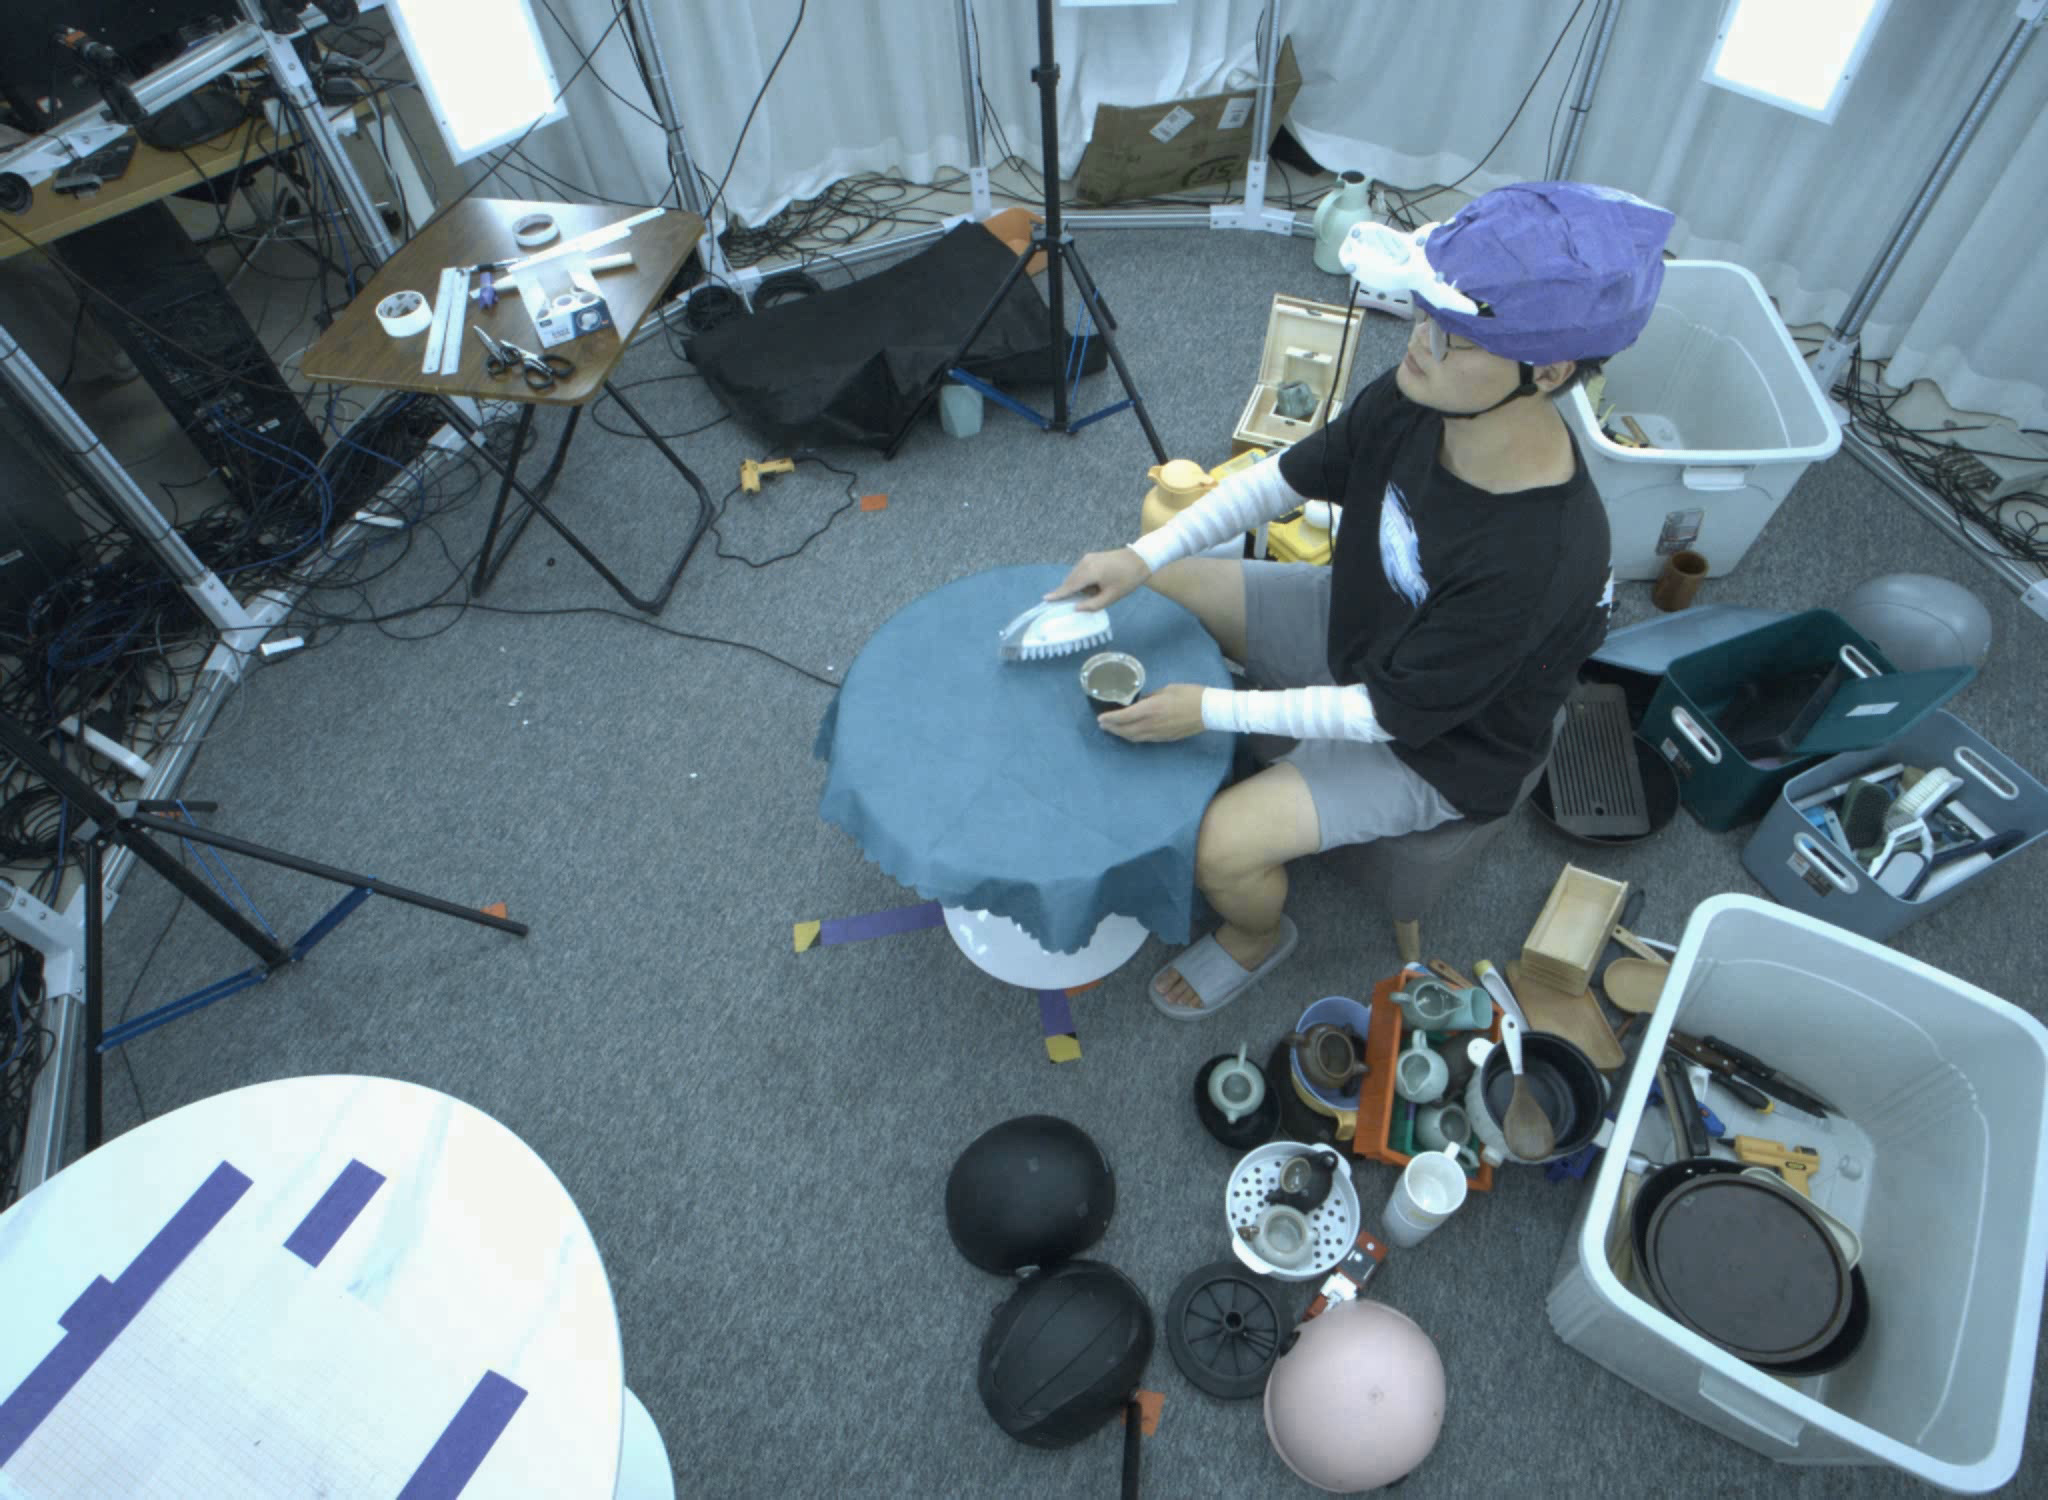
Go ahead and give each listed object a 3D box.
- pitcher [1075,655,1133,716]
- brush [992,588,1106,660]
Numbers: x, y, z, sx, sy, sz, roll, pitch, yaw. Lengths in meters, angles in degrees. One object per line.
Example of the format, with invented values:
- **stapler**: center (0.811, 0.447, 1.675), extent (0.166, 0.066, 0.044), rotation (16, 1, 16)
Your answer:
- **pitcher**: center (0.118, -0.086, 1.791), extent (0.084, 0.072, 0.094), rotation (-20, 59, -13)
- **brush**: center (0.030, -0.190, 1.836), extent (0.176, 0.095, 0.060), rotation (-16, 47, -3)
